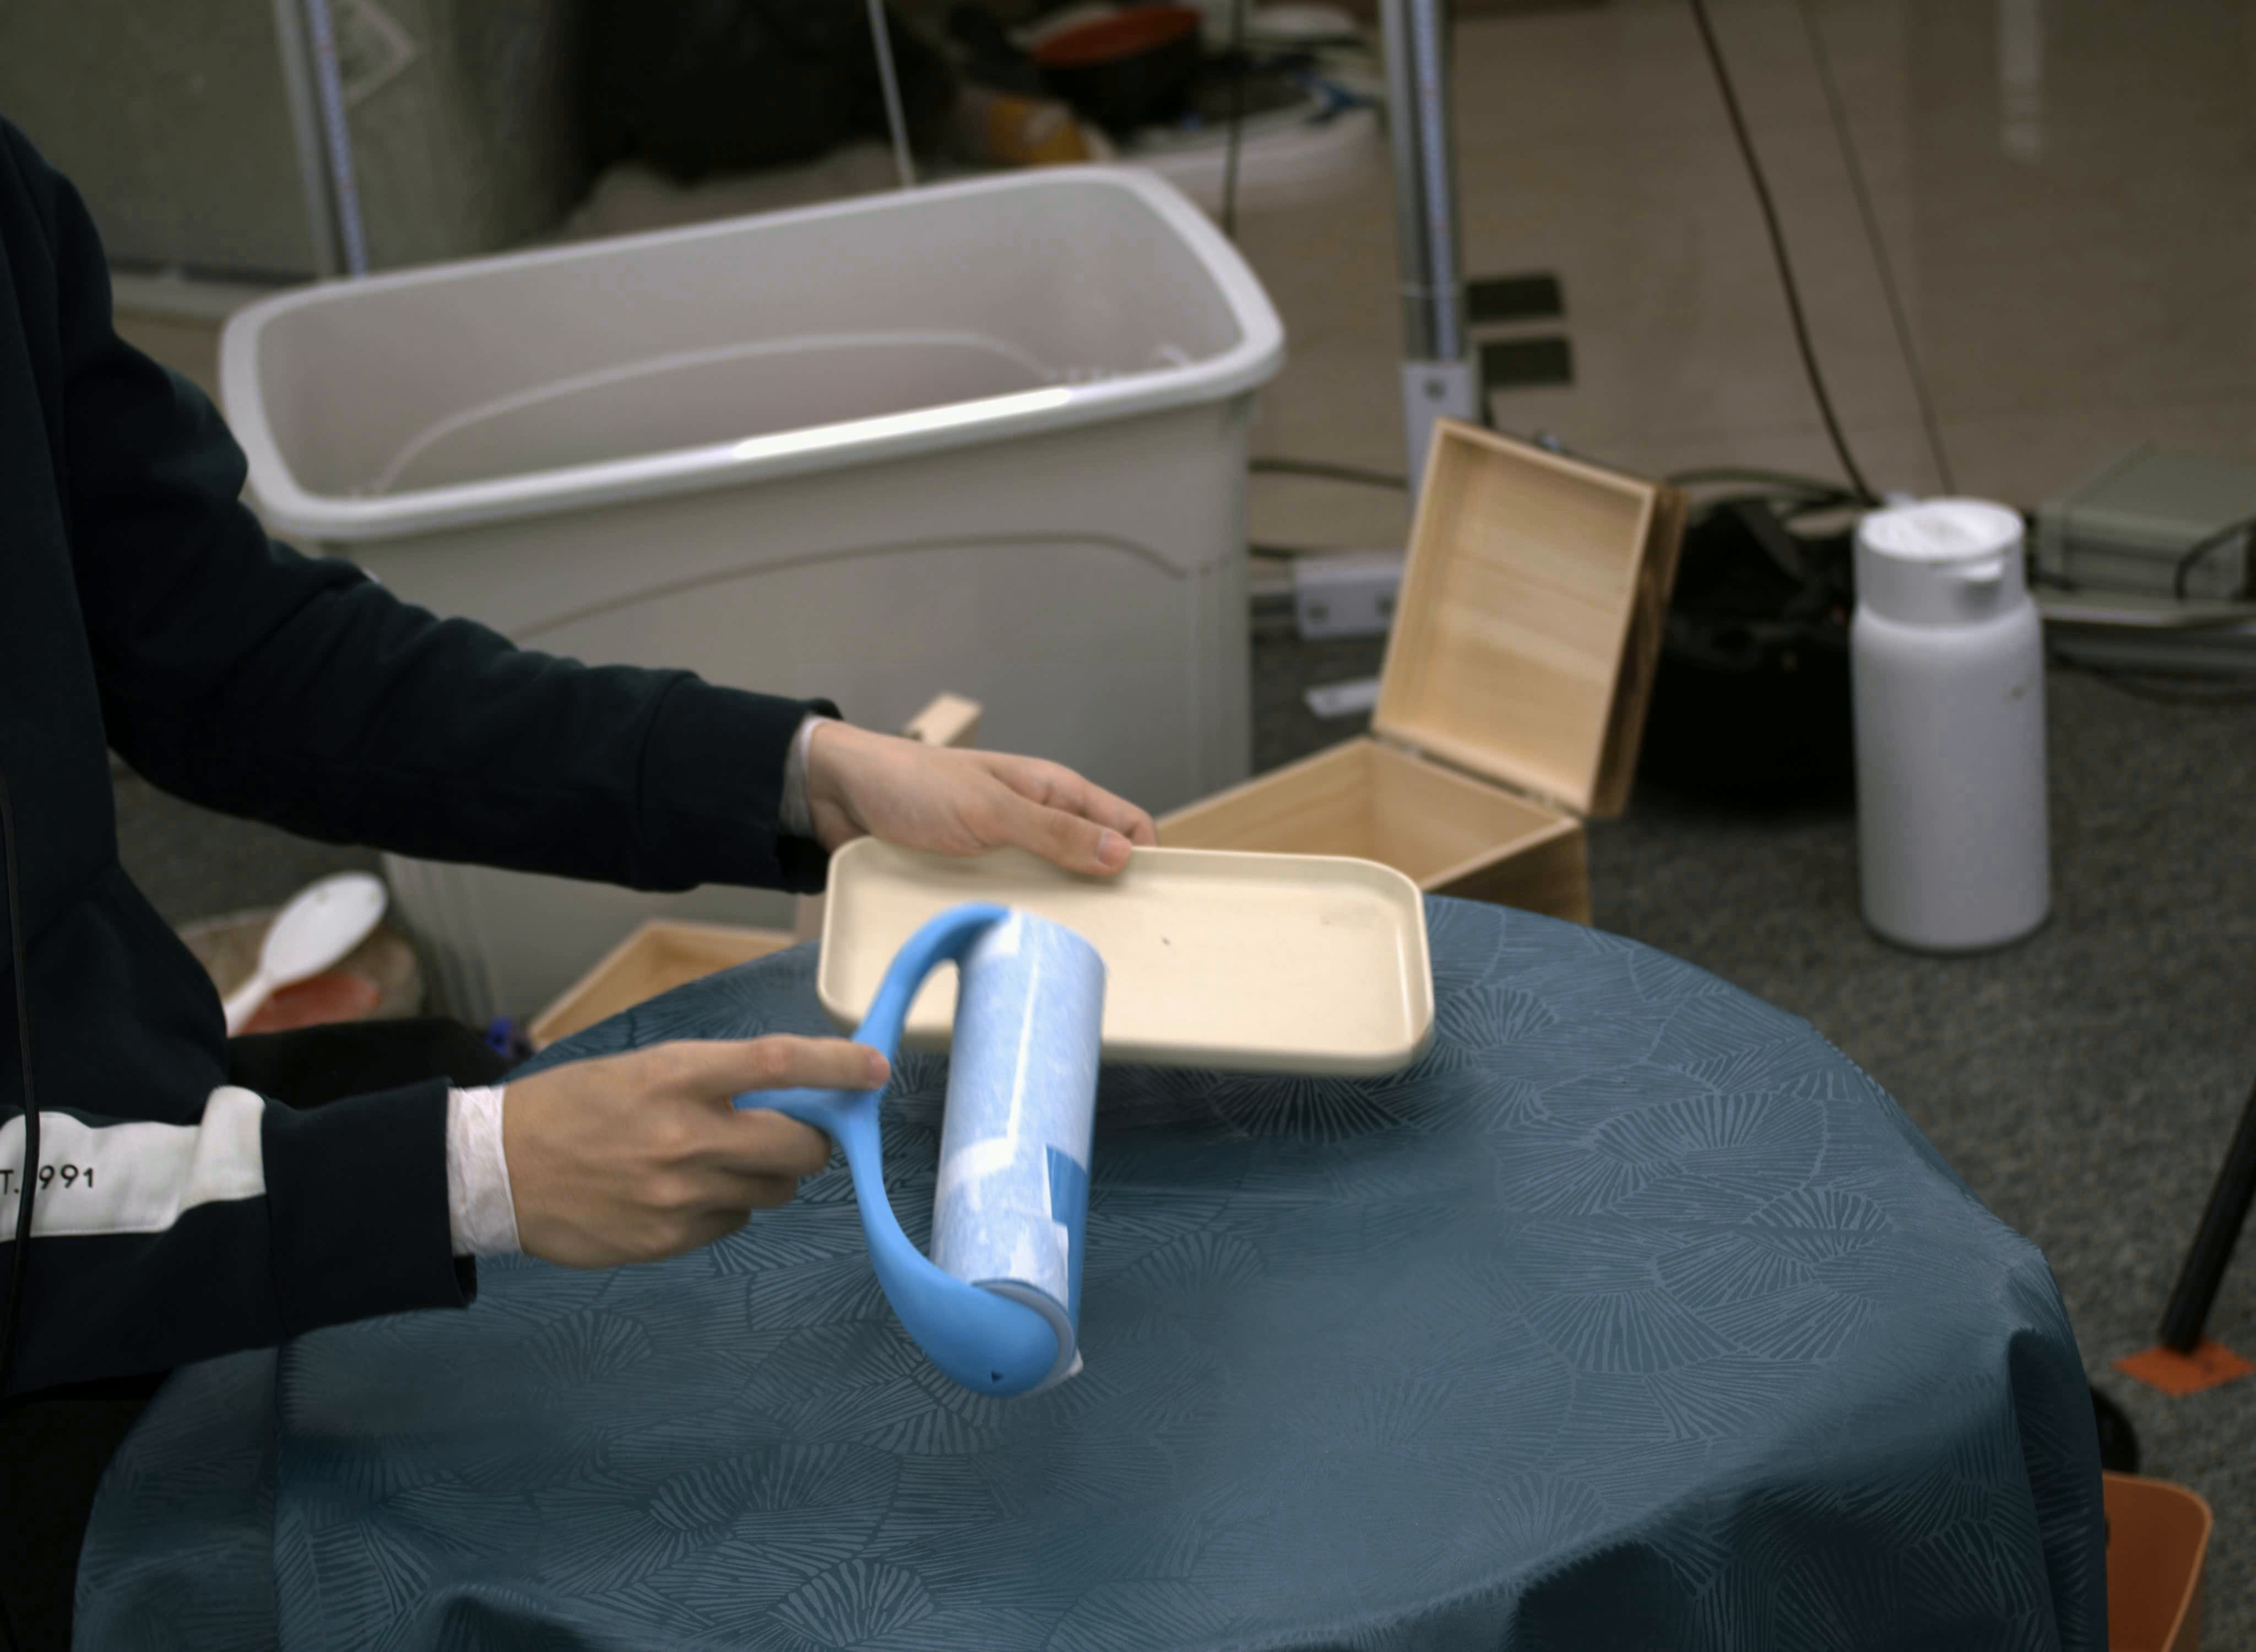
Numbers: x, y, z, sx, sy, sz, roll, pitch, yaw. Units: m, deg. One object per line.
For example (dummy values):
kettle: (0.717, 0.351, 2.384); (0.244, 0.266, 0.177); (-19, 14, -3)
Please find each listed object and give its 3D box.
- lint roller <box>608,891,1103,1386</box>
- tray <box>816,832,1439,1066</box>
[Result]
lint roller: (-0.097, 0.112, 1.991); (0.180, 0.069, 0.225); (-4, 41, 2)
tray: (-0.001, 0.049, 2.210); (0.239, 0.018, 0.169); (4, 24, -2)
